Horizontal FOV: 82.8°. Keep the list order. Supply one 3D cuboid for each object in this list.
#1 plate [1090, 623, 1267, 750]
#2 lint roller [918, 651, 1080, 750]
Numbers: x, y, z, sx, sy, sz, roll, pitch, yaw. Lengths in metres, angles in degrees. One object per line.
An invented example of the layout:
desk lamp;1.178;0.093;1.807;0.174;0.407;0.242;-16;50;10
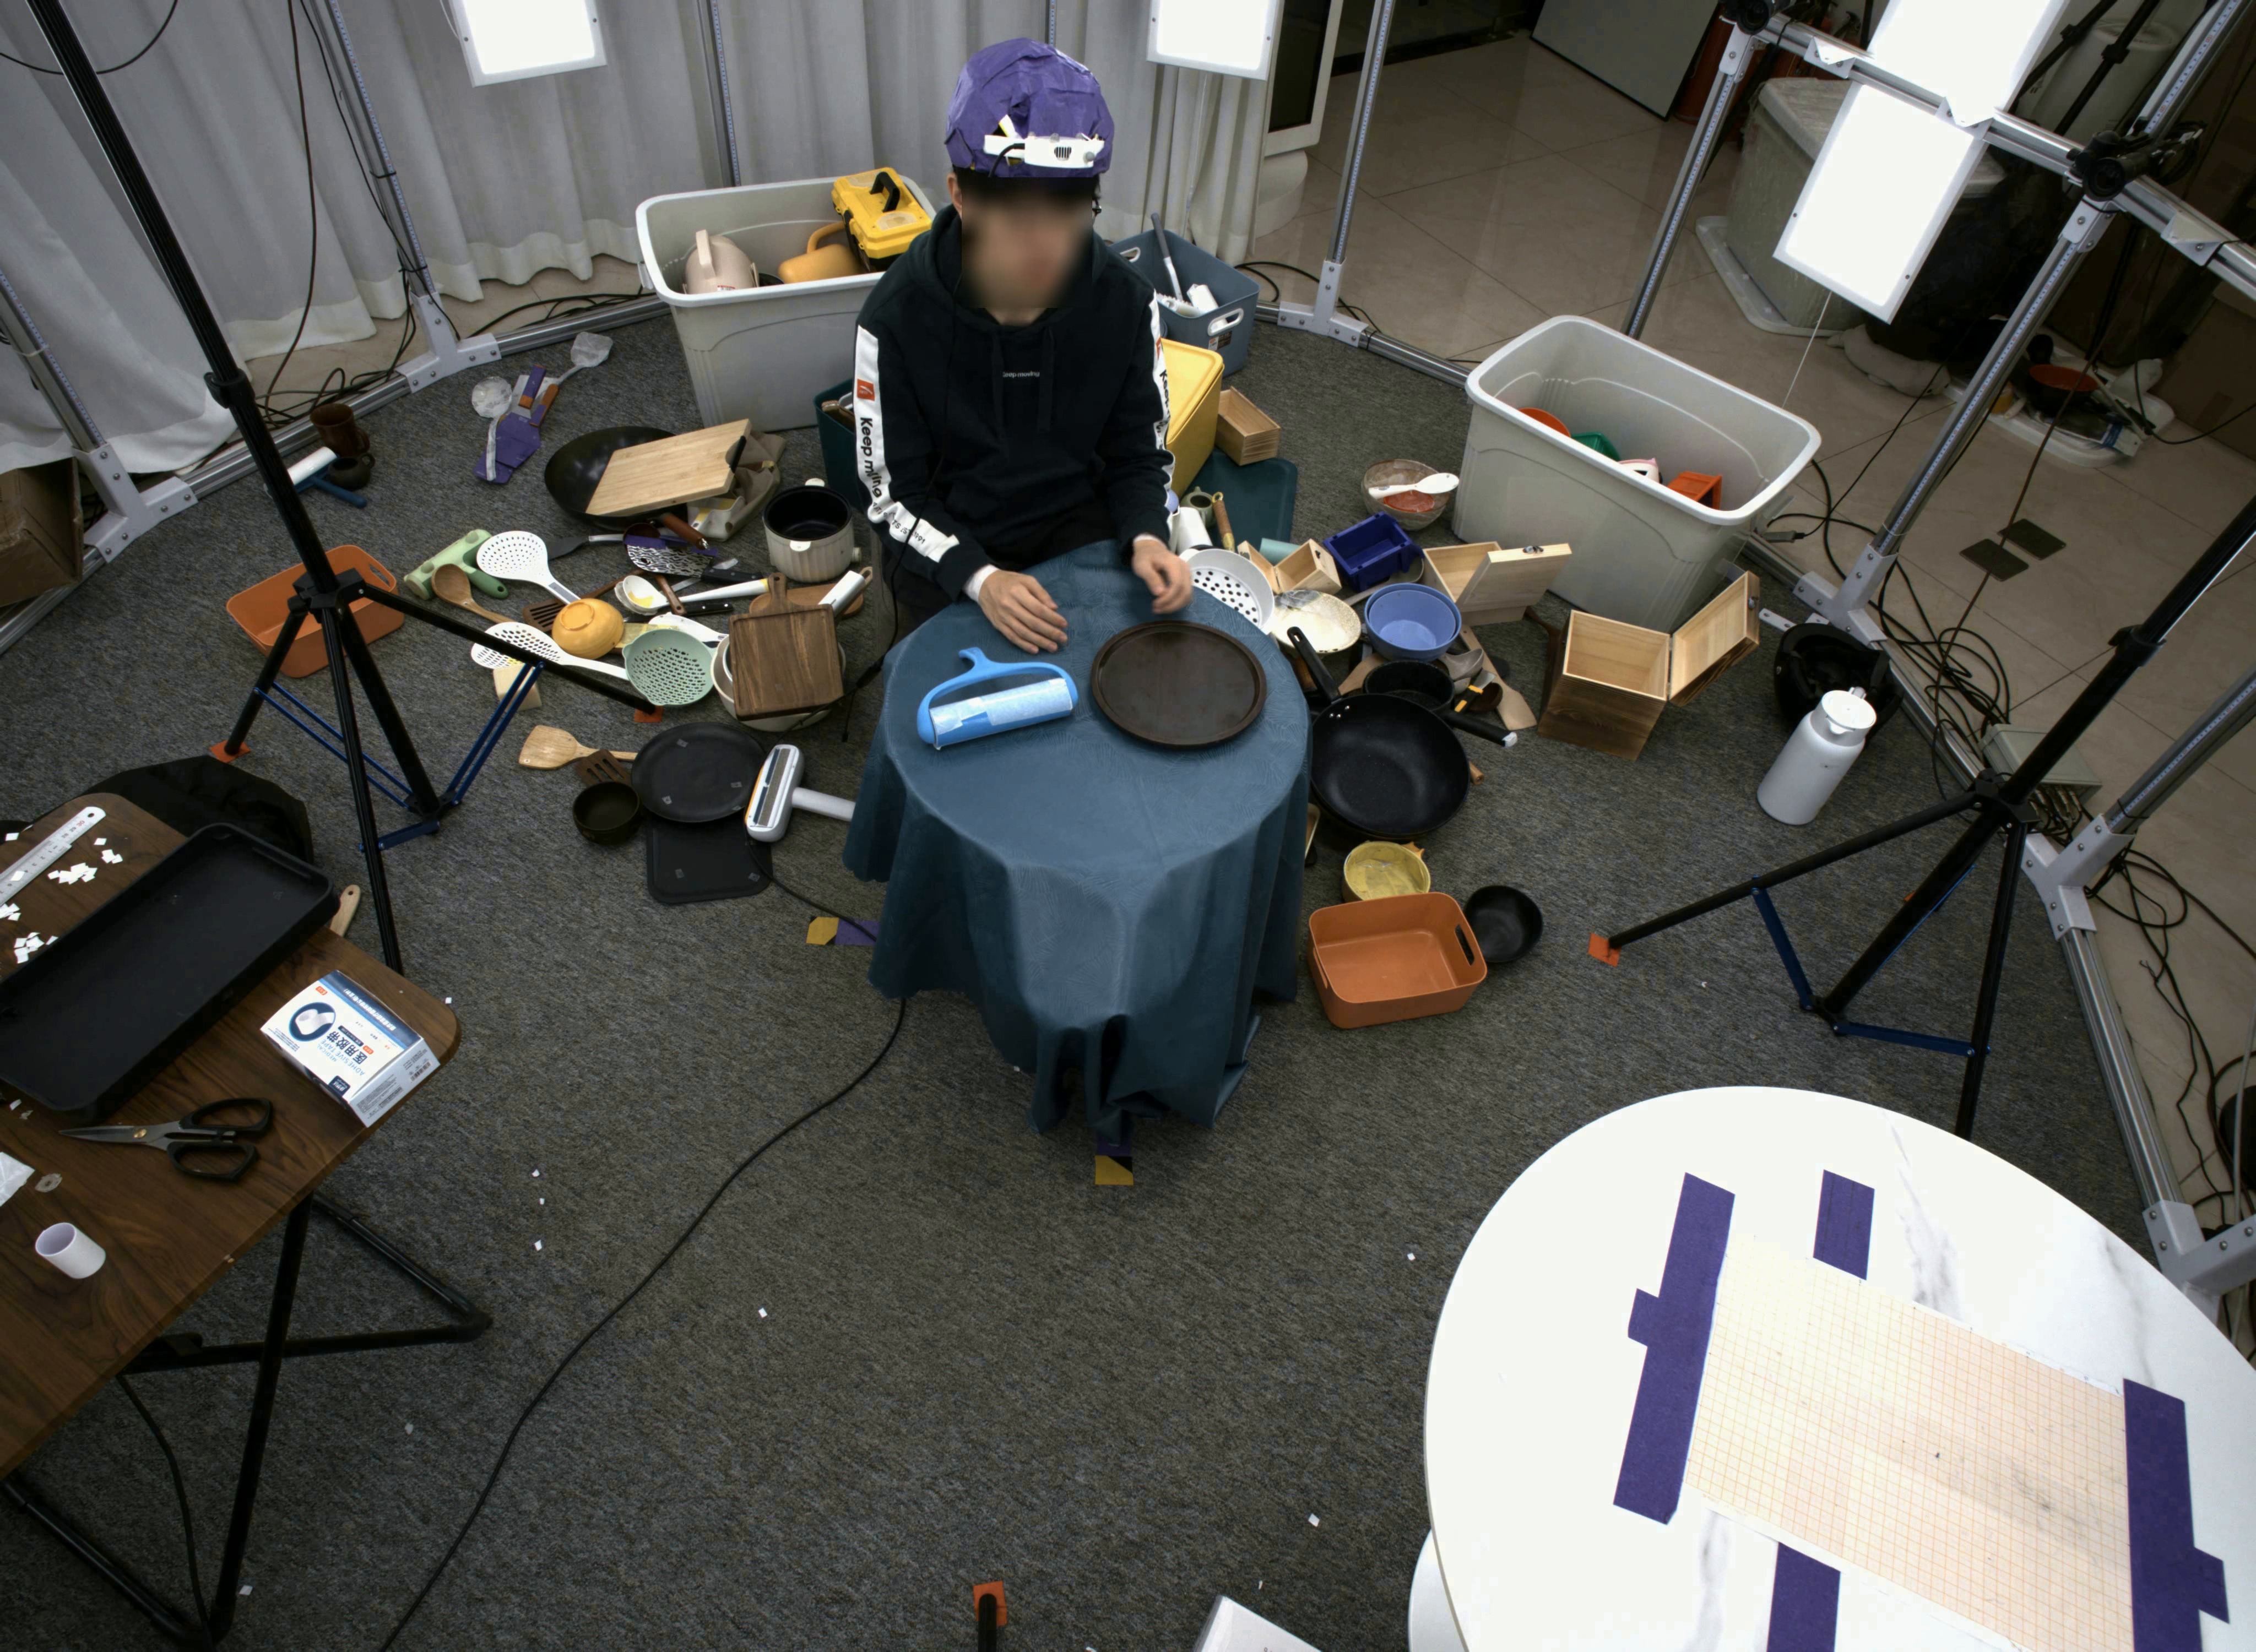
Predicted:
plate;0.072;-0.202;1.833;0.254;0.028;0.261;2;50;-3
lint roller;-0.199;-0.198;1.790;0.229;0.066;0.184;-18;53;-17
